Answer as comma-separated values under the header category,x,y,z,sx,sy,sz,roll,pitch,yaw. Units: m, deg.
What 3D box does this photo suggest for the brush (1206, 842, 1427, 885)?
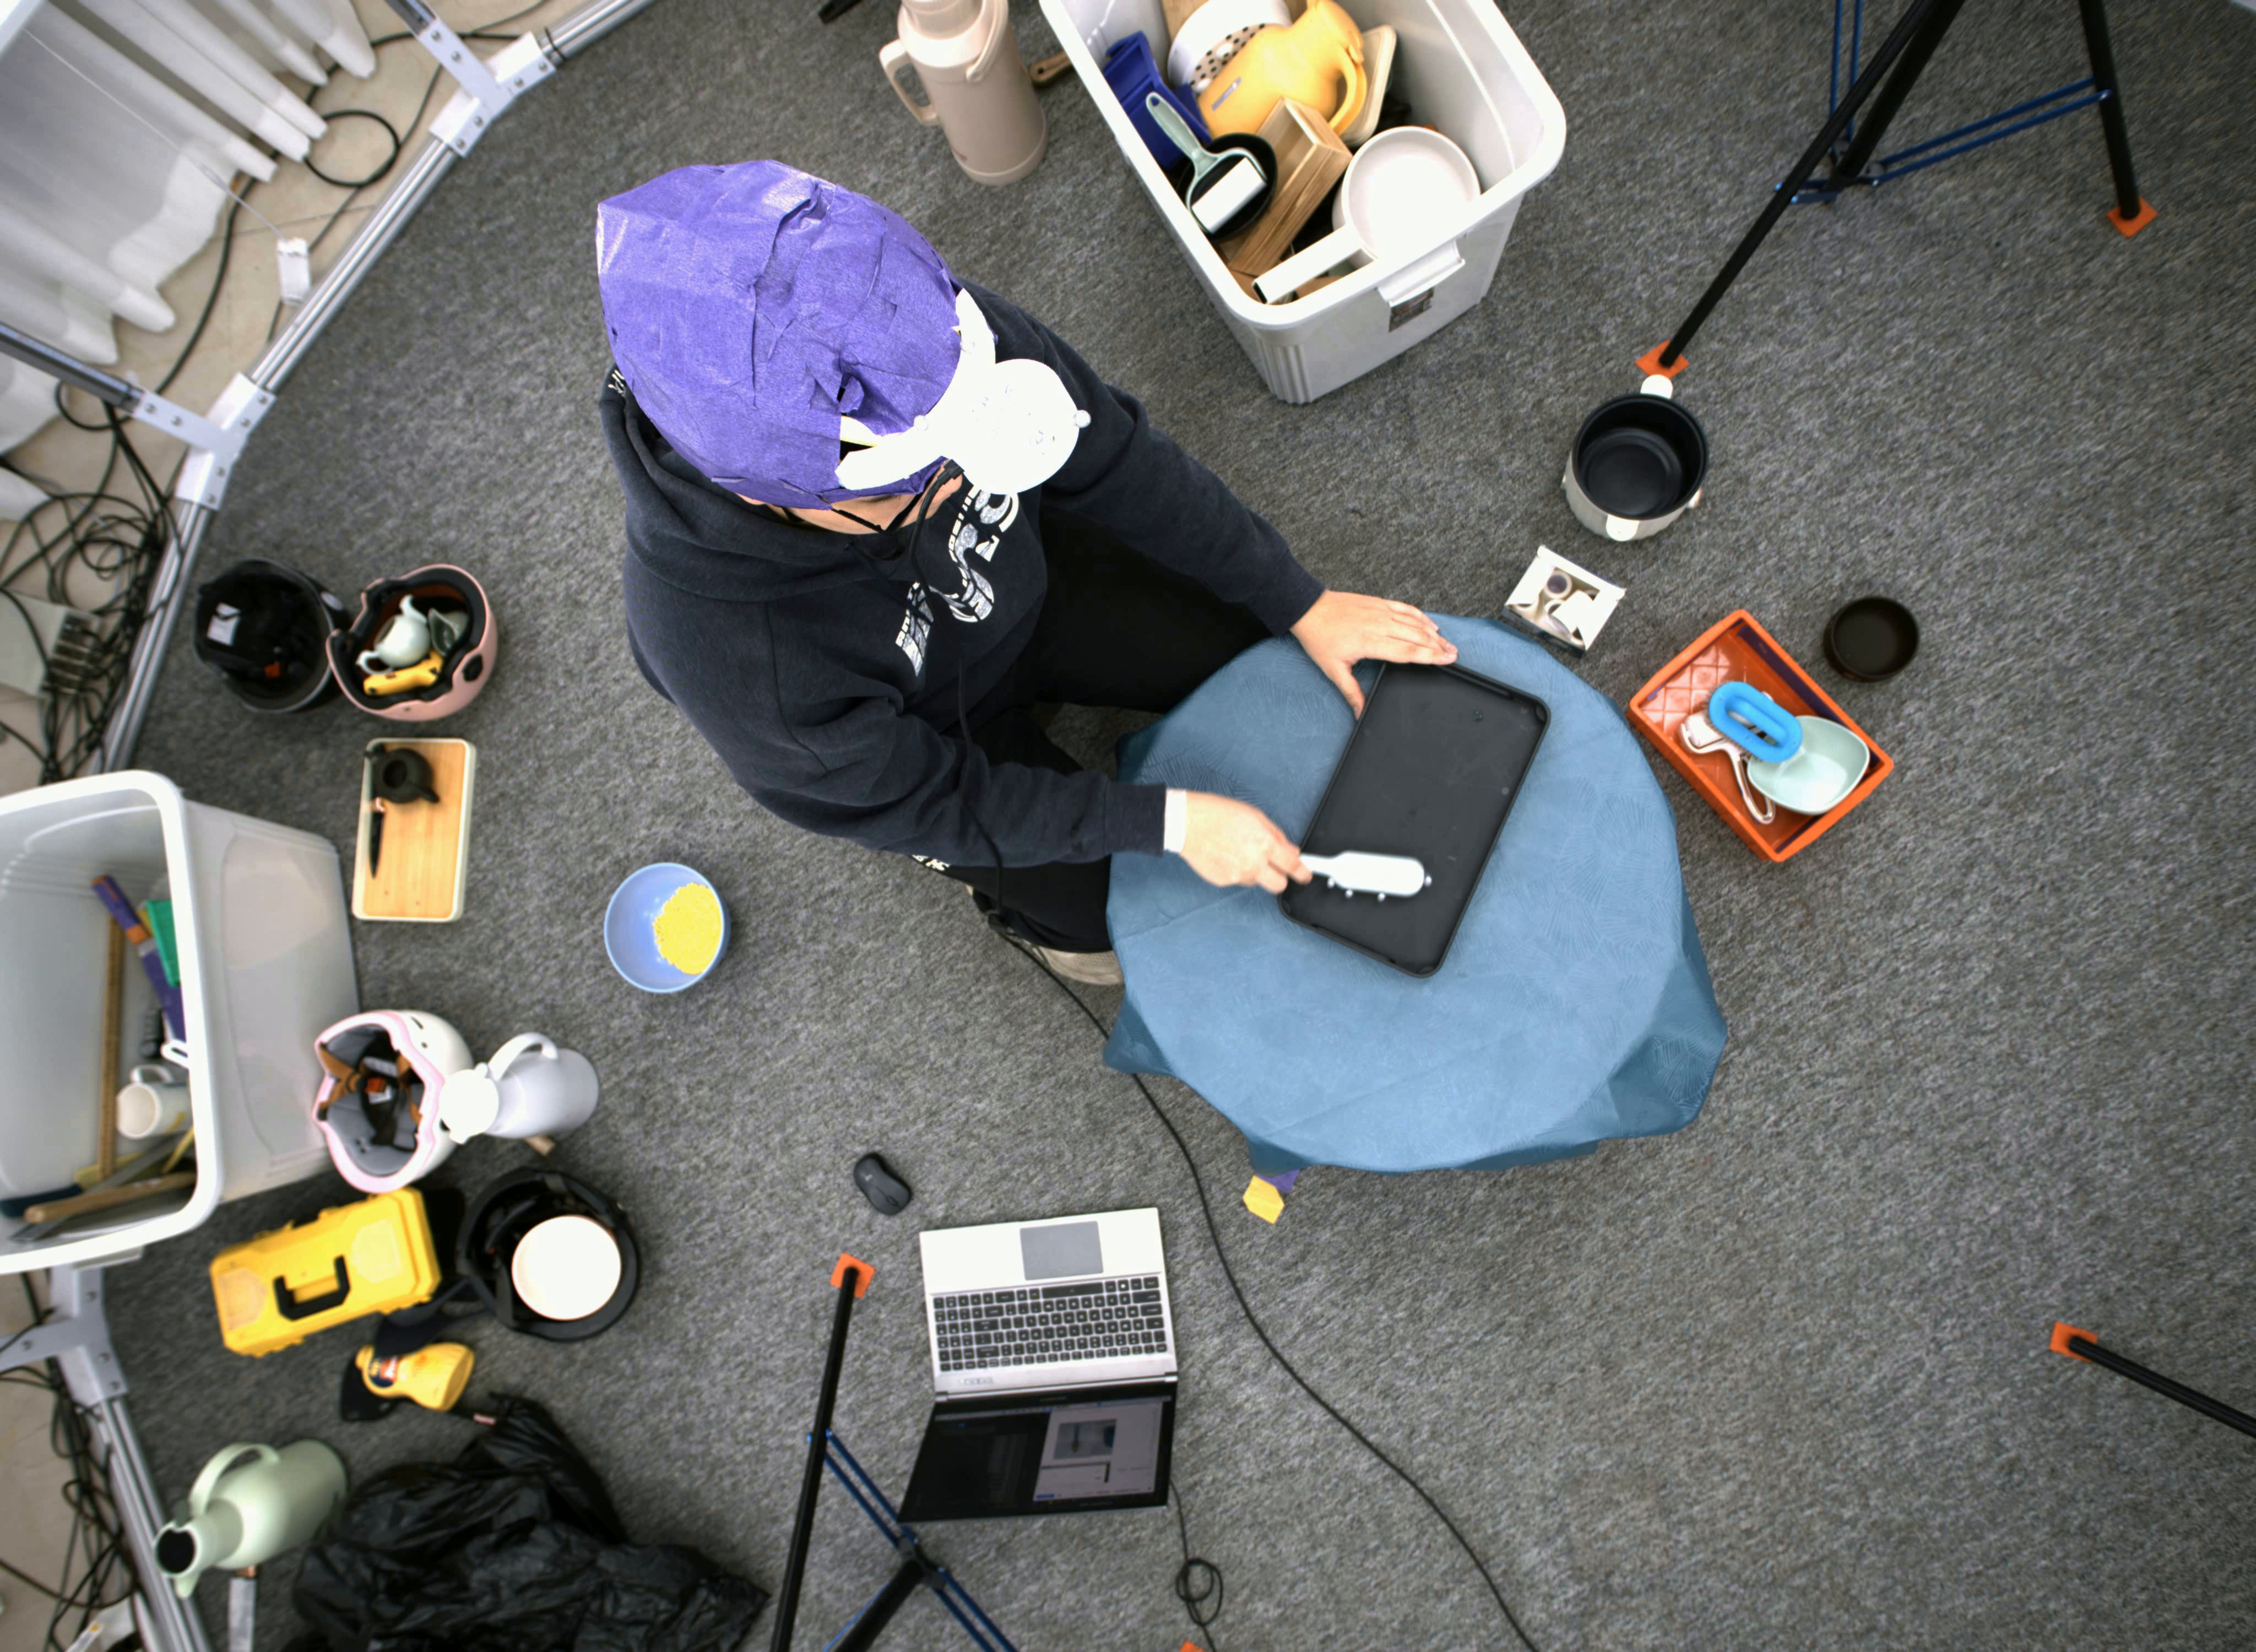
category,x,y,z,sx,sy,sz,roll,pitch,yaw
brush,0.193,0.035,1.431,0.229,0.050,0.038,4,89,-5

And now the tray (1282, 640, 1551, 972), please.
category,x,y,z,sx,sy,sz,roll,pitch,yaw
tray,0.301,-0.023,1.443,0.184,0.037,0.318,23,91,12
